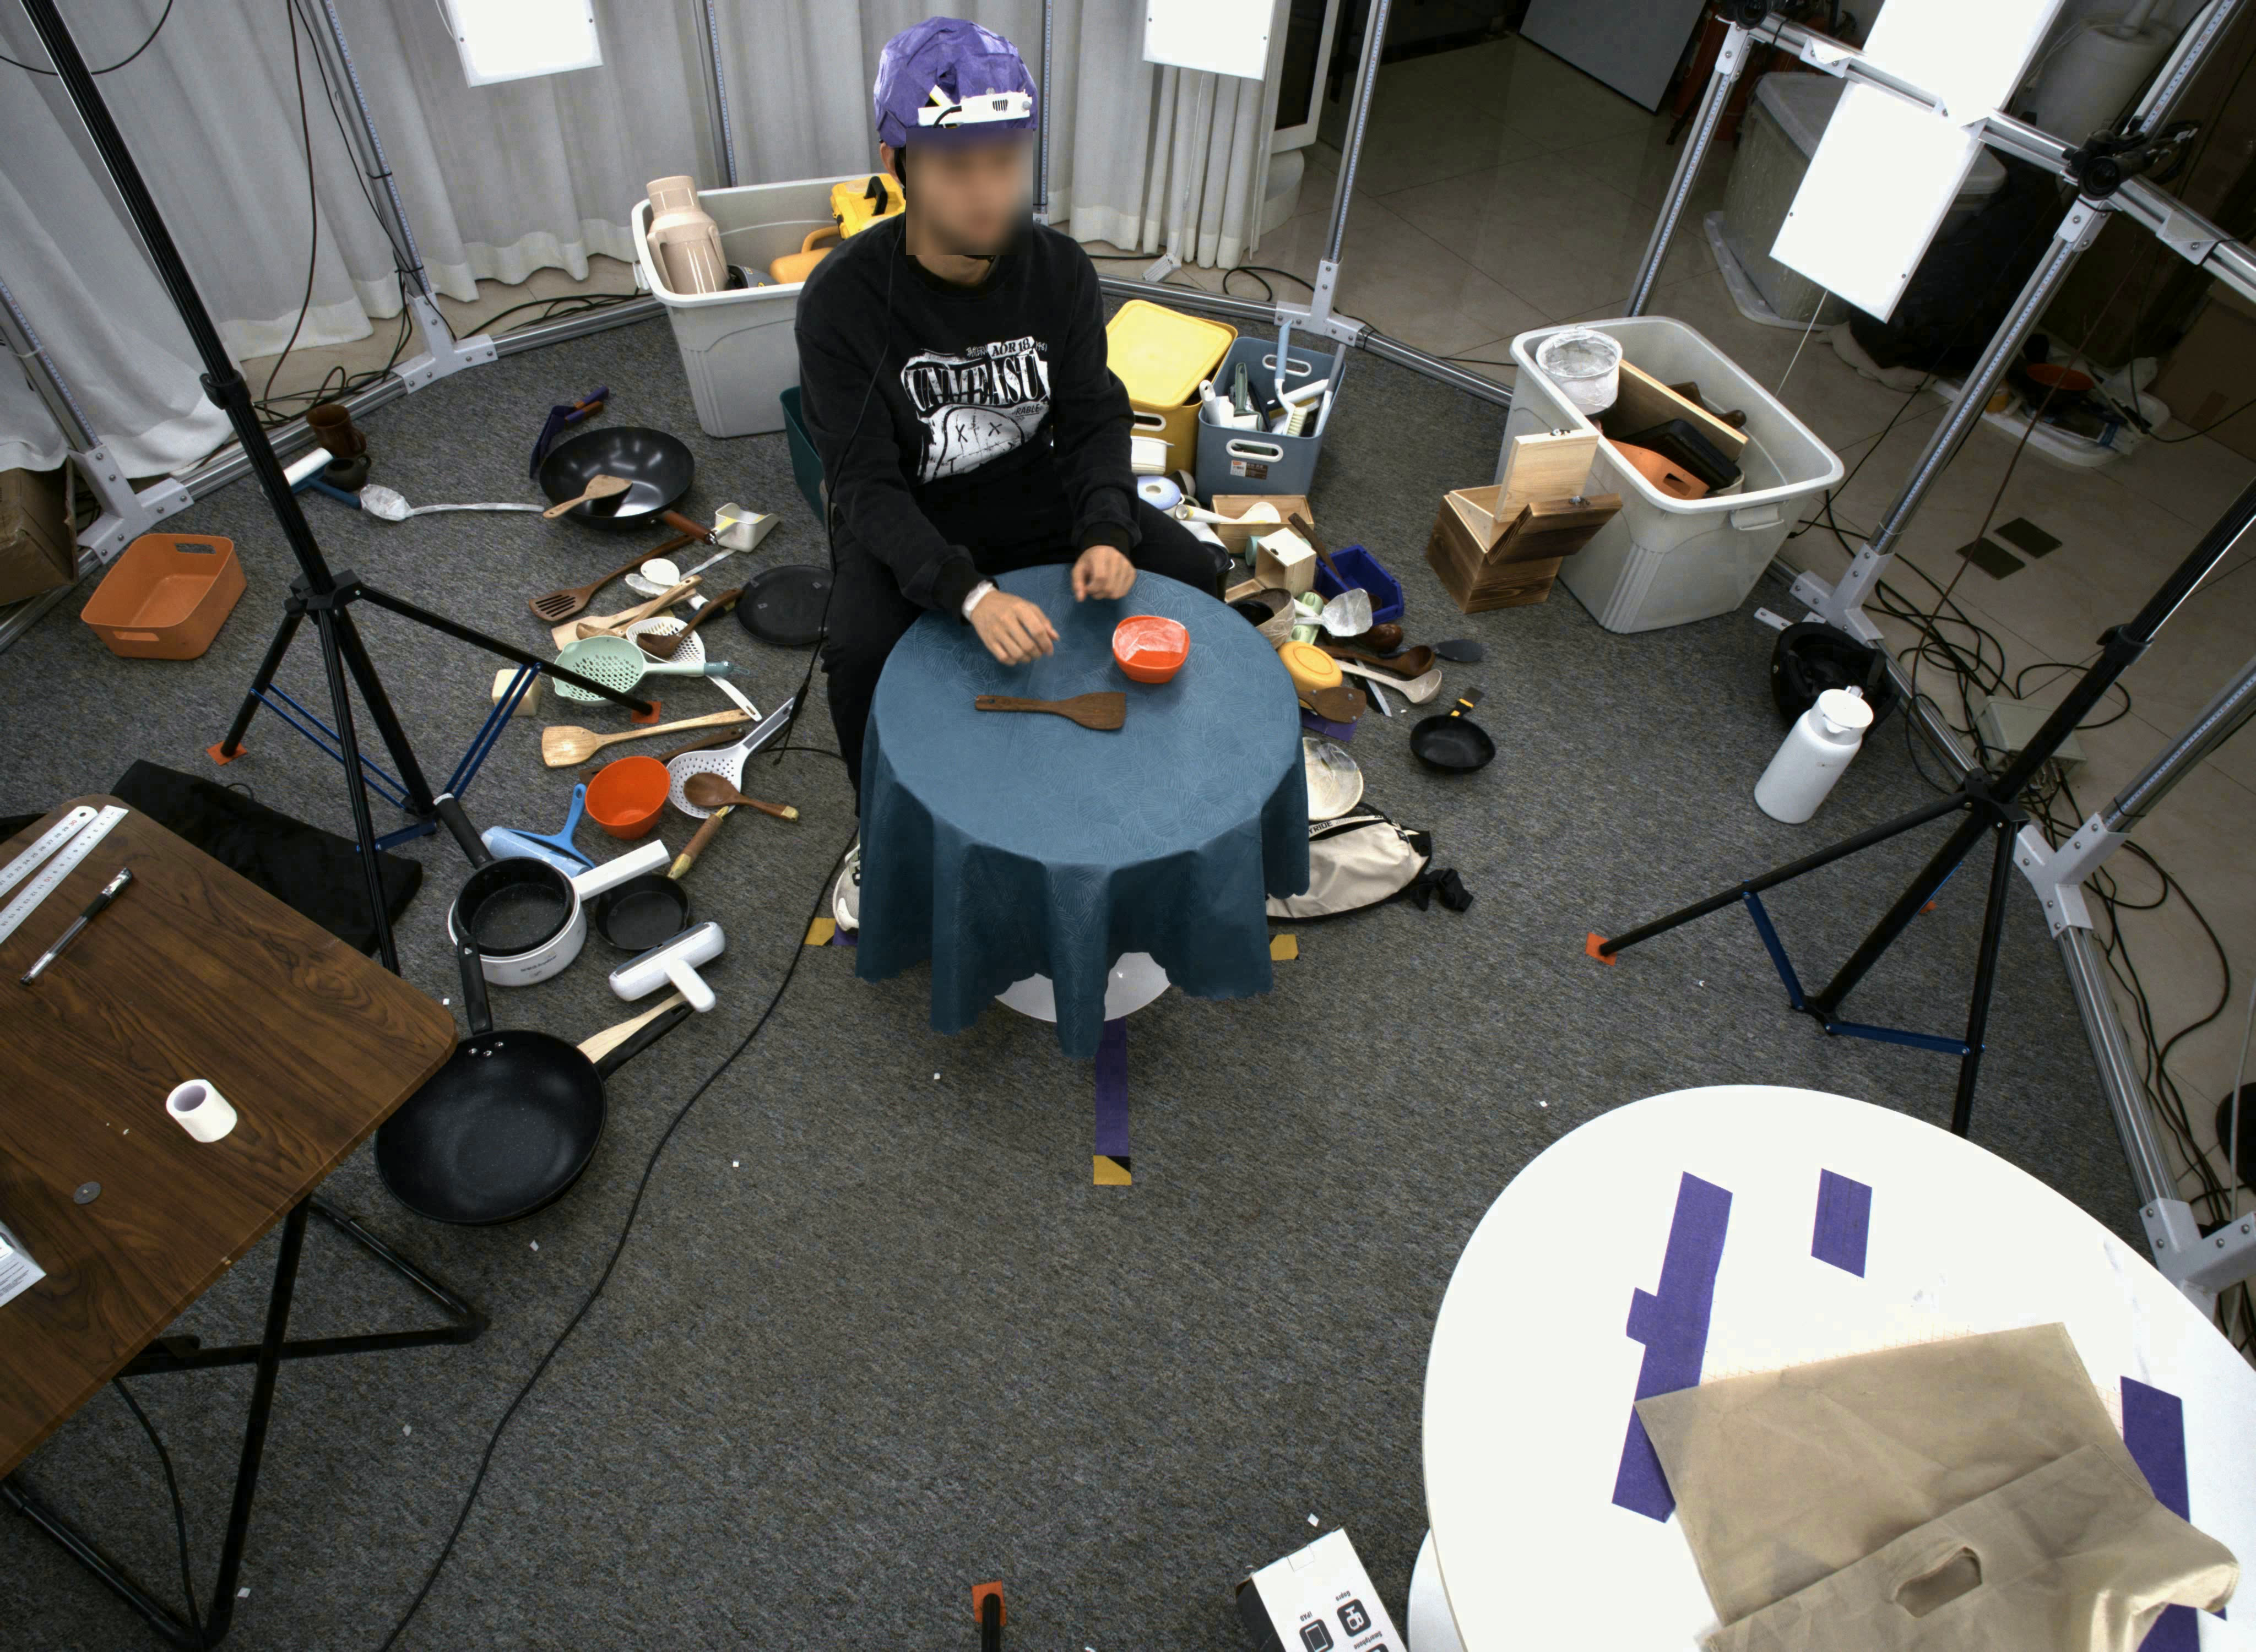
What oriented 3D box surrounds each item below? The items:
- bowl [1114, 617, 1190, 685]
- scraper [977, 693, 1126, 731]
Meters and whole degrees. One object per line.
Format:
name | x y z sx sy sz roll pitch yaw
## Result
bowl | 0.033 -0.248 1.870 0.119 0.050 0.122 2 51 -3
scraper | -0.108 -0.167 1.817 0.211 0.010 0.078 4 48 0
